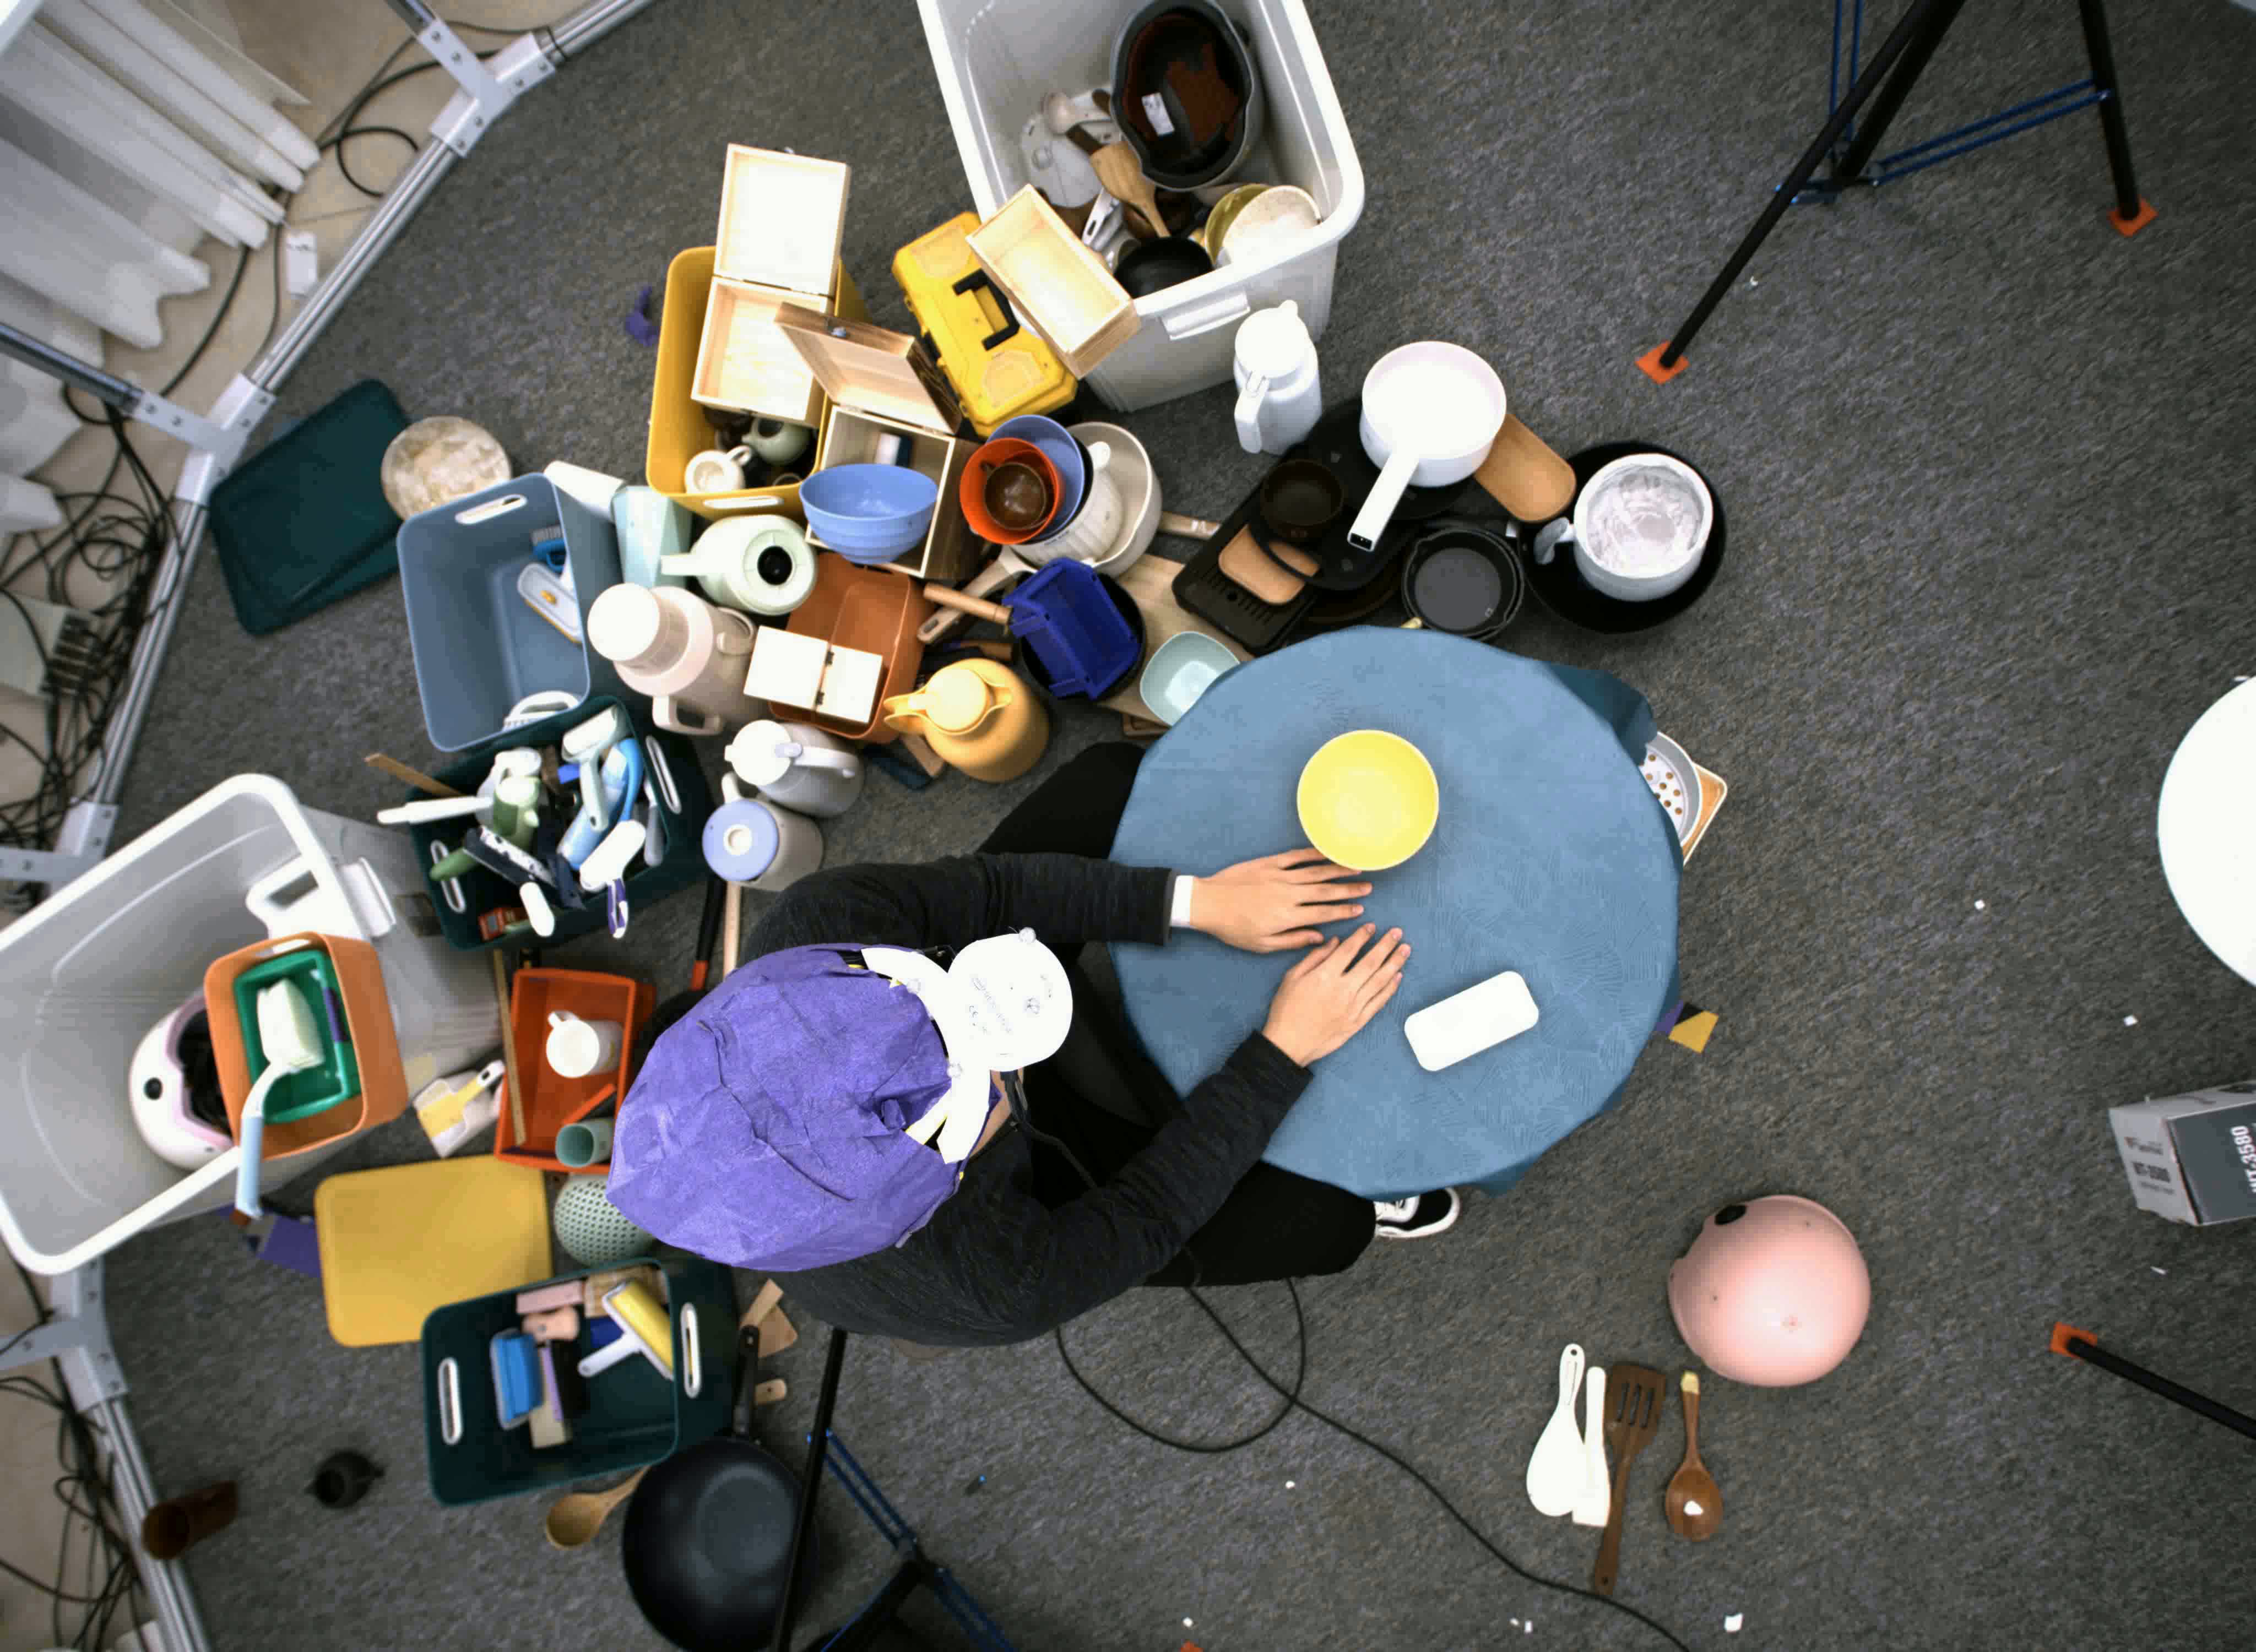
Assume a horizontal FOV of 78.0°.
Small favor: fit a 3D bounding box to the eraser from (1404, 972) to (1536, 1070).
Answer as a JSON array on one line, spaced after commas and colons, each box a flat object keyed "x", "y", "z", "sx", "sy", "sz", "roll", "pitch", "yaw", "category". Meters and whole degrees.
[{"x": 0.351, "y": 0.198, "z": 1.422, "sx": 0.132, "sy": 0.034, "sz": 0.063, "roll": -25, "pitch": 81, "yaw": 7, "category": "eraser"}]

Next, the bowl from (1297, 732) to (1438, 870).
[{"x": 0.250, "y": -0.024, "z": 1.440, "sx": 0.146, "sy": 0.060, "sz": 0.144, "roll": -1, "pitch": 85, "yaw": 12, "category": "bowl"}]
